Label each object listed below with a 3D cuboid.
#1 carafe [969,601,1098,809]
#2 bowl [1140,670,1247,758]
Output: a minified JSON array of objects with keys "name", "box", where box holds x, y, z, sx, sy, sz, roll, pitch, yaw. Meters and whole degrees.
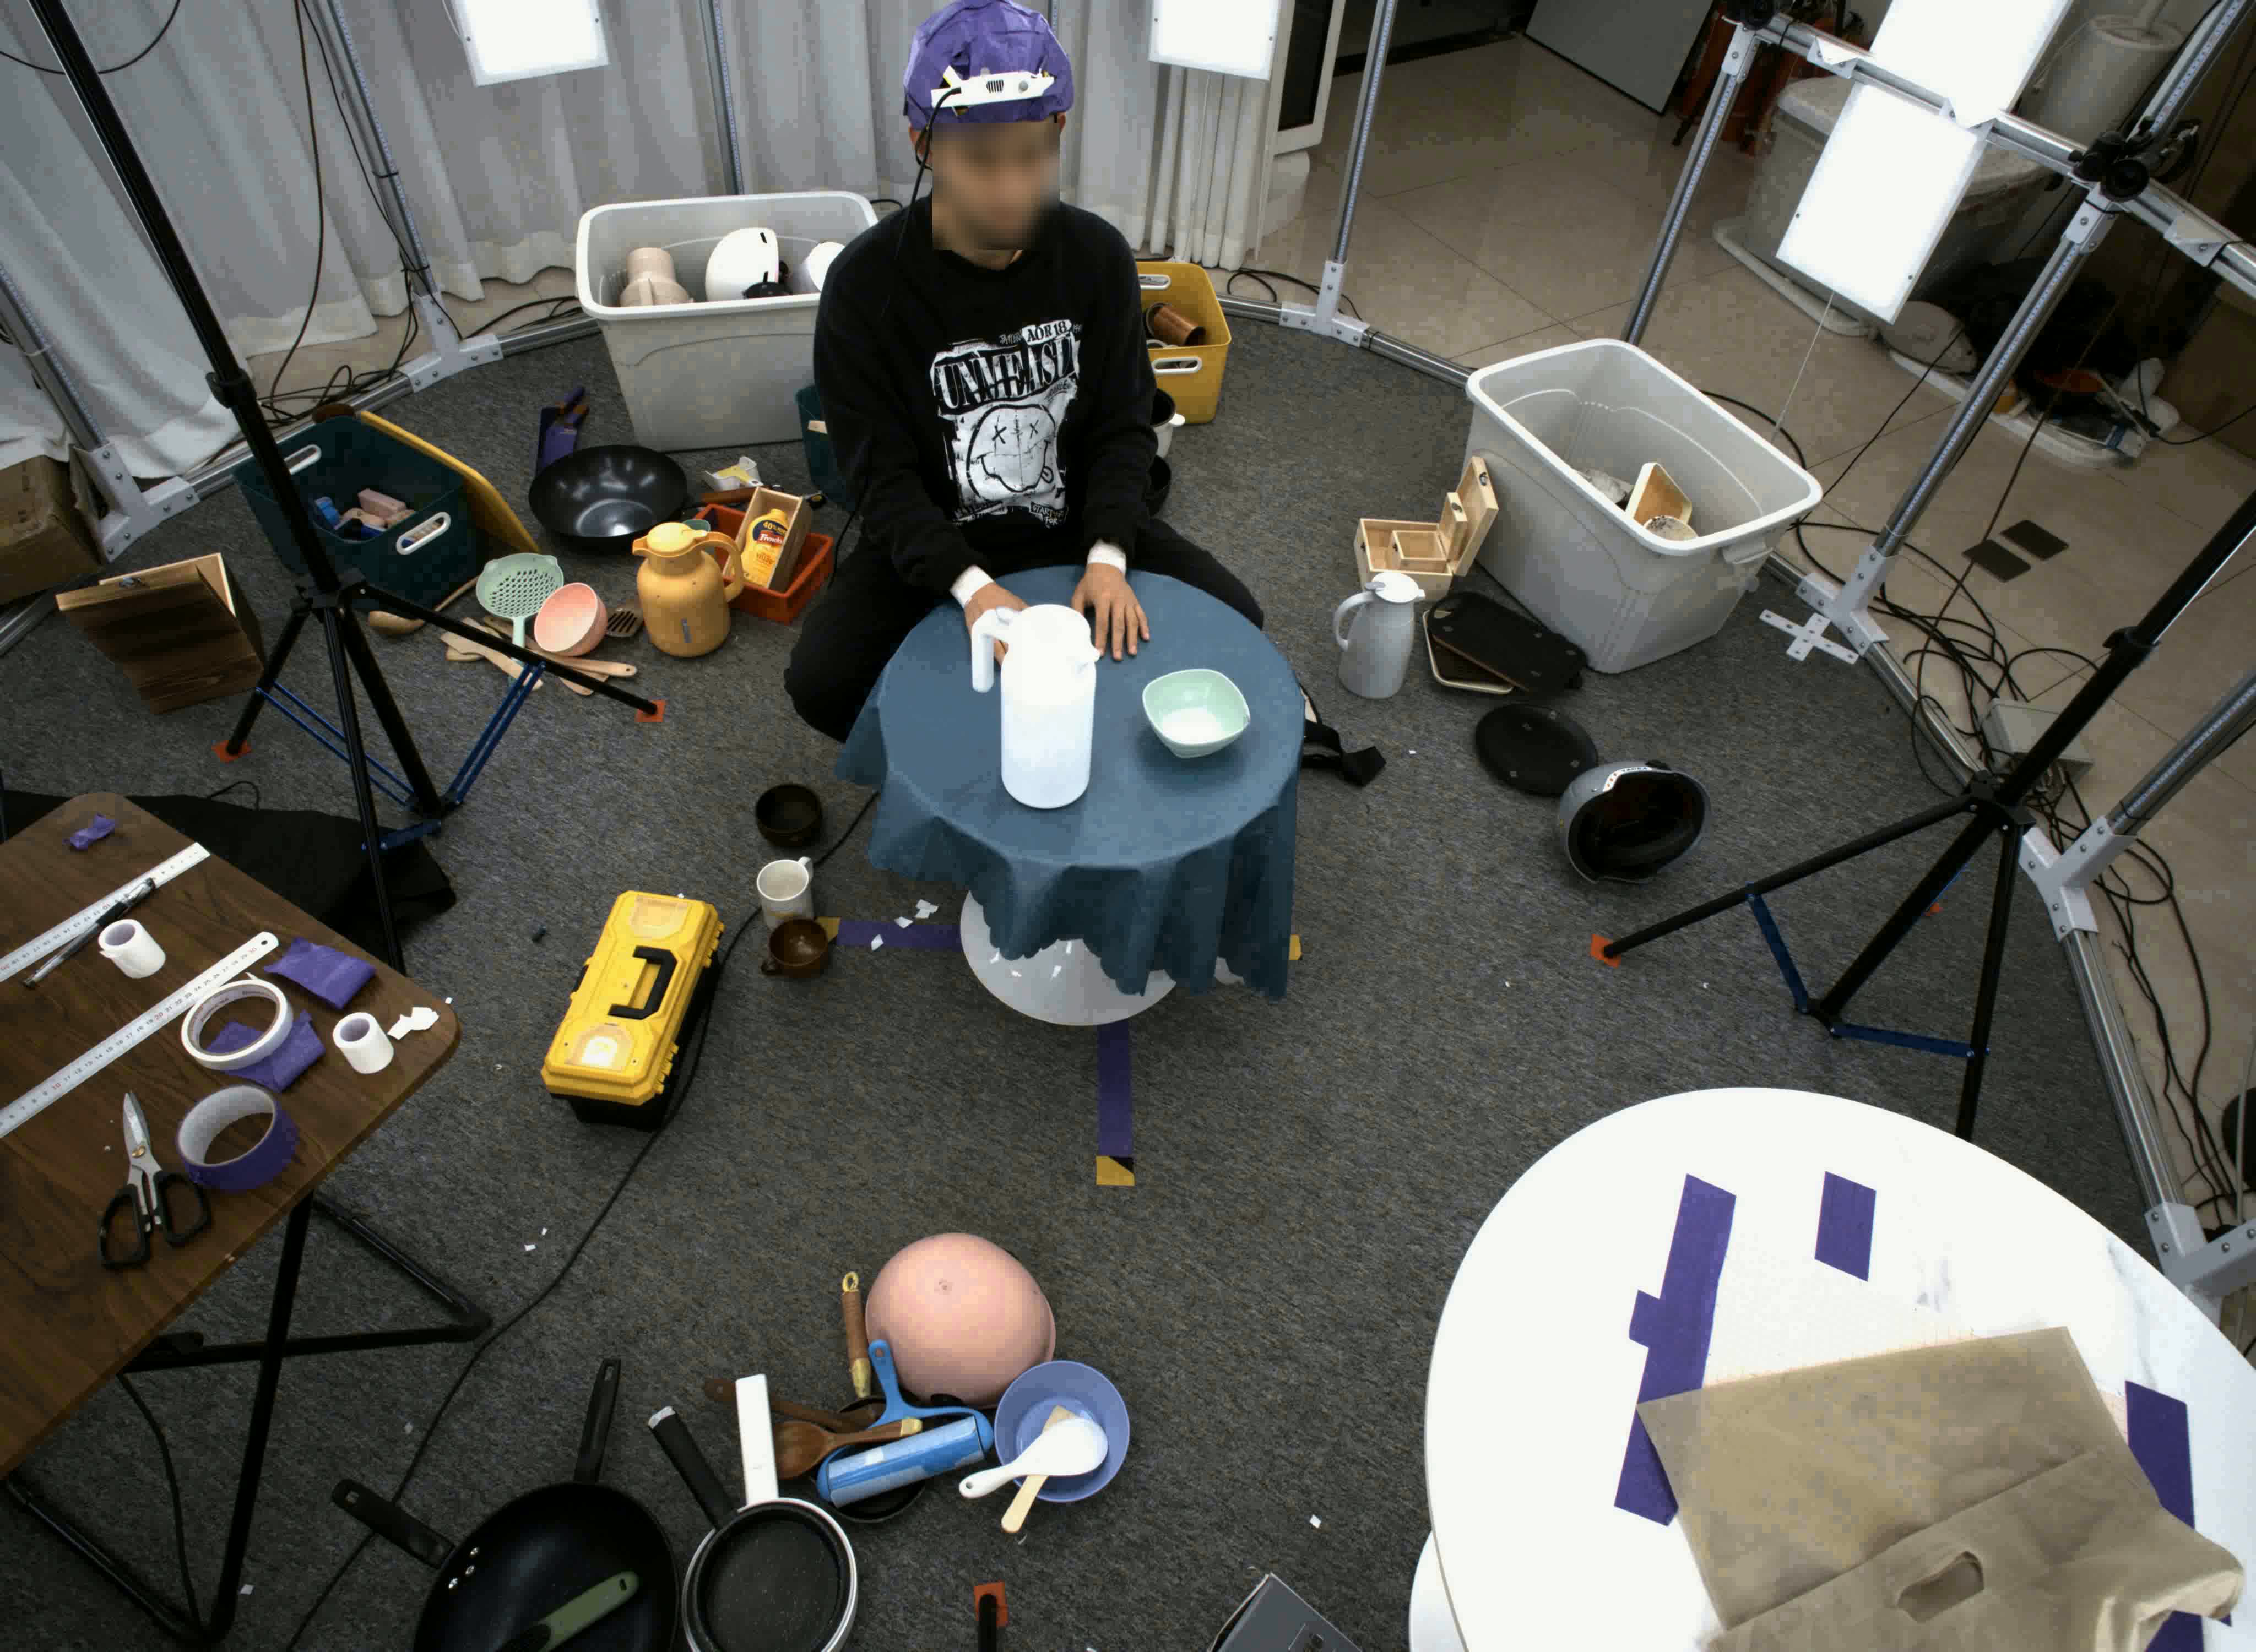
[{"name":"carafe","box":[-0.120,-0.153,1.623,0.174,0.262,0.126,24,54,16]},{"name":"bowl","box":[0.088,-0.145,1.766,0.151,0.057,0.155,2,49,-2]}]
